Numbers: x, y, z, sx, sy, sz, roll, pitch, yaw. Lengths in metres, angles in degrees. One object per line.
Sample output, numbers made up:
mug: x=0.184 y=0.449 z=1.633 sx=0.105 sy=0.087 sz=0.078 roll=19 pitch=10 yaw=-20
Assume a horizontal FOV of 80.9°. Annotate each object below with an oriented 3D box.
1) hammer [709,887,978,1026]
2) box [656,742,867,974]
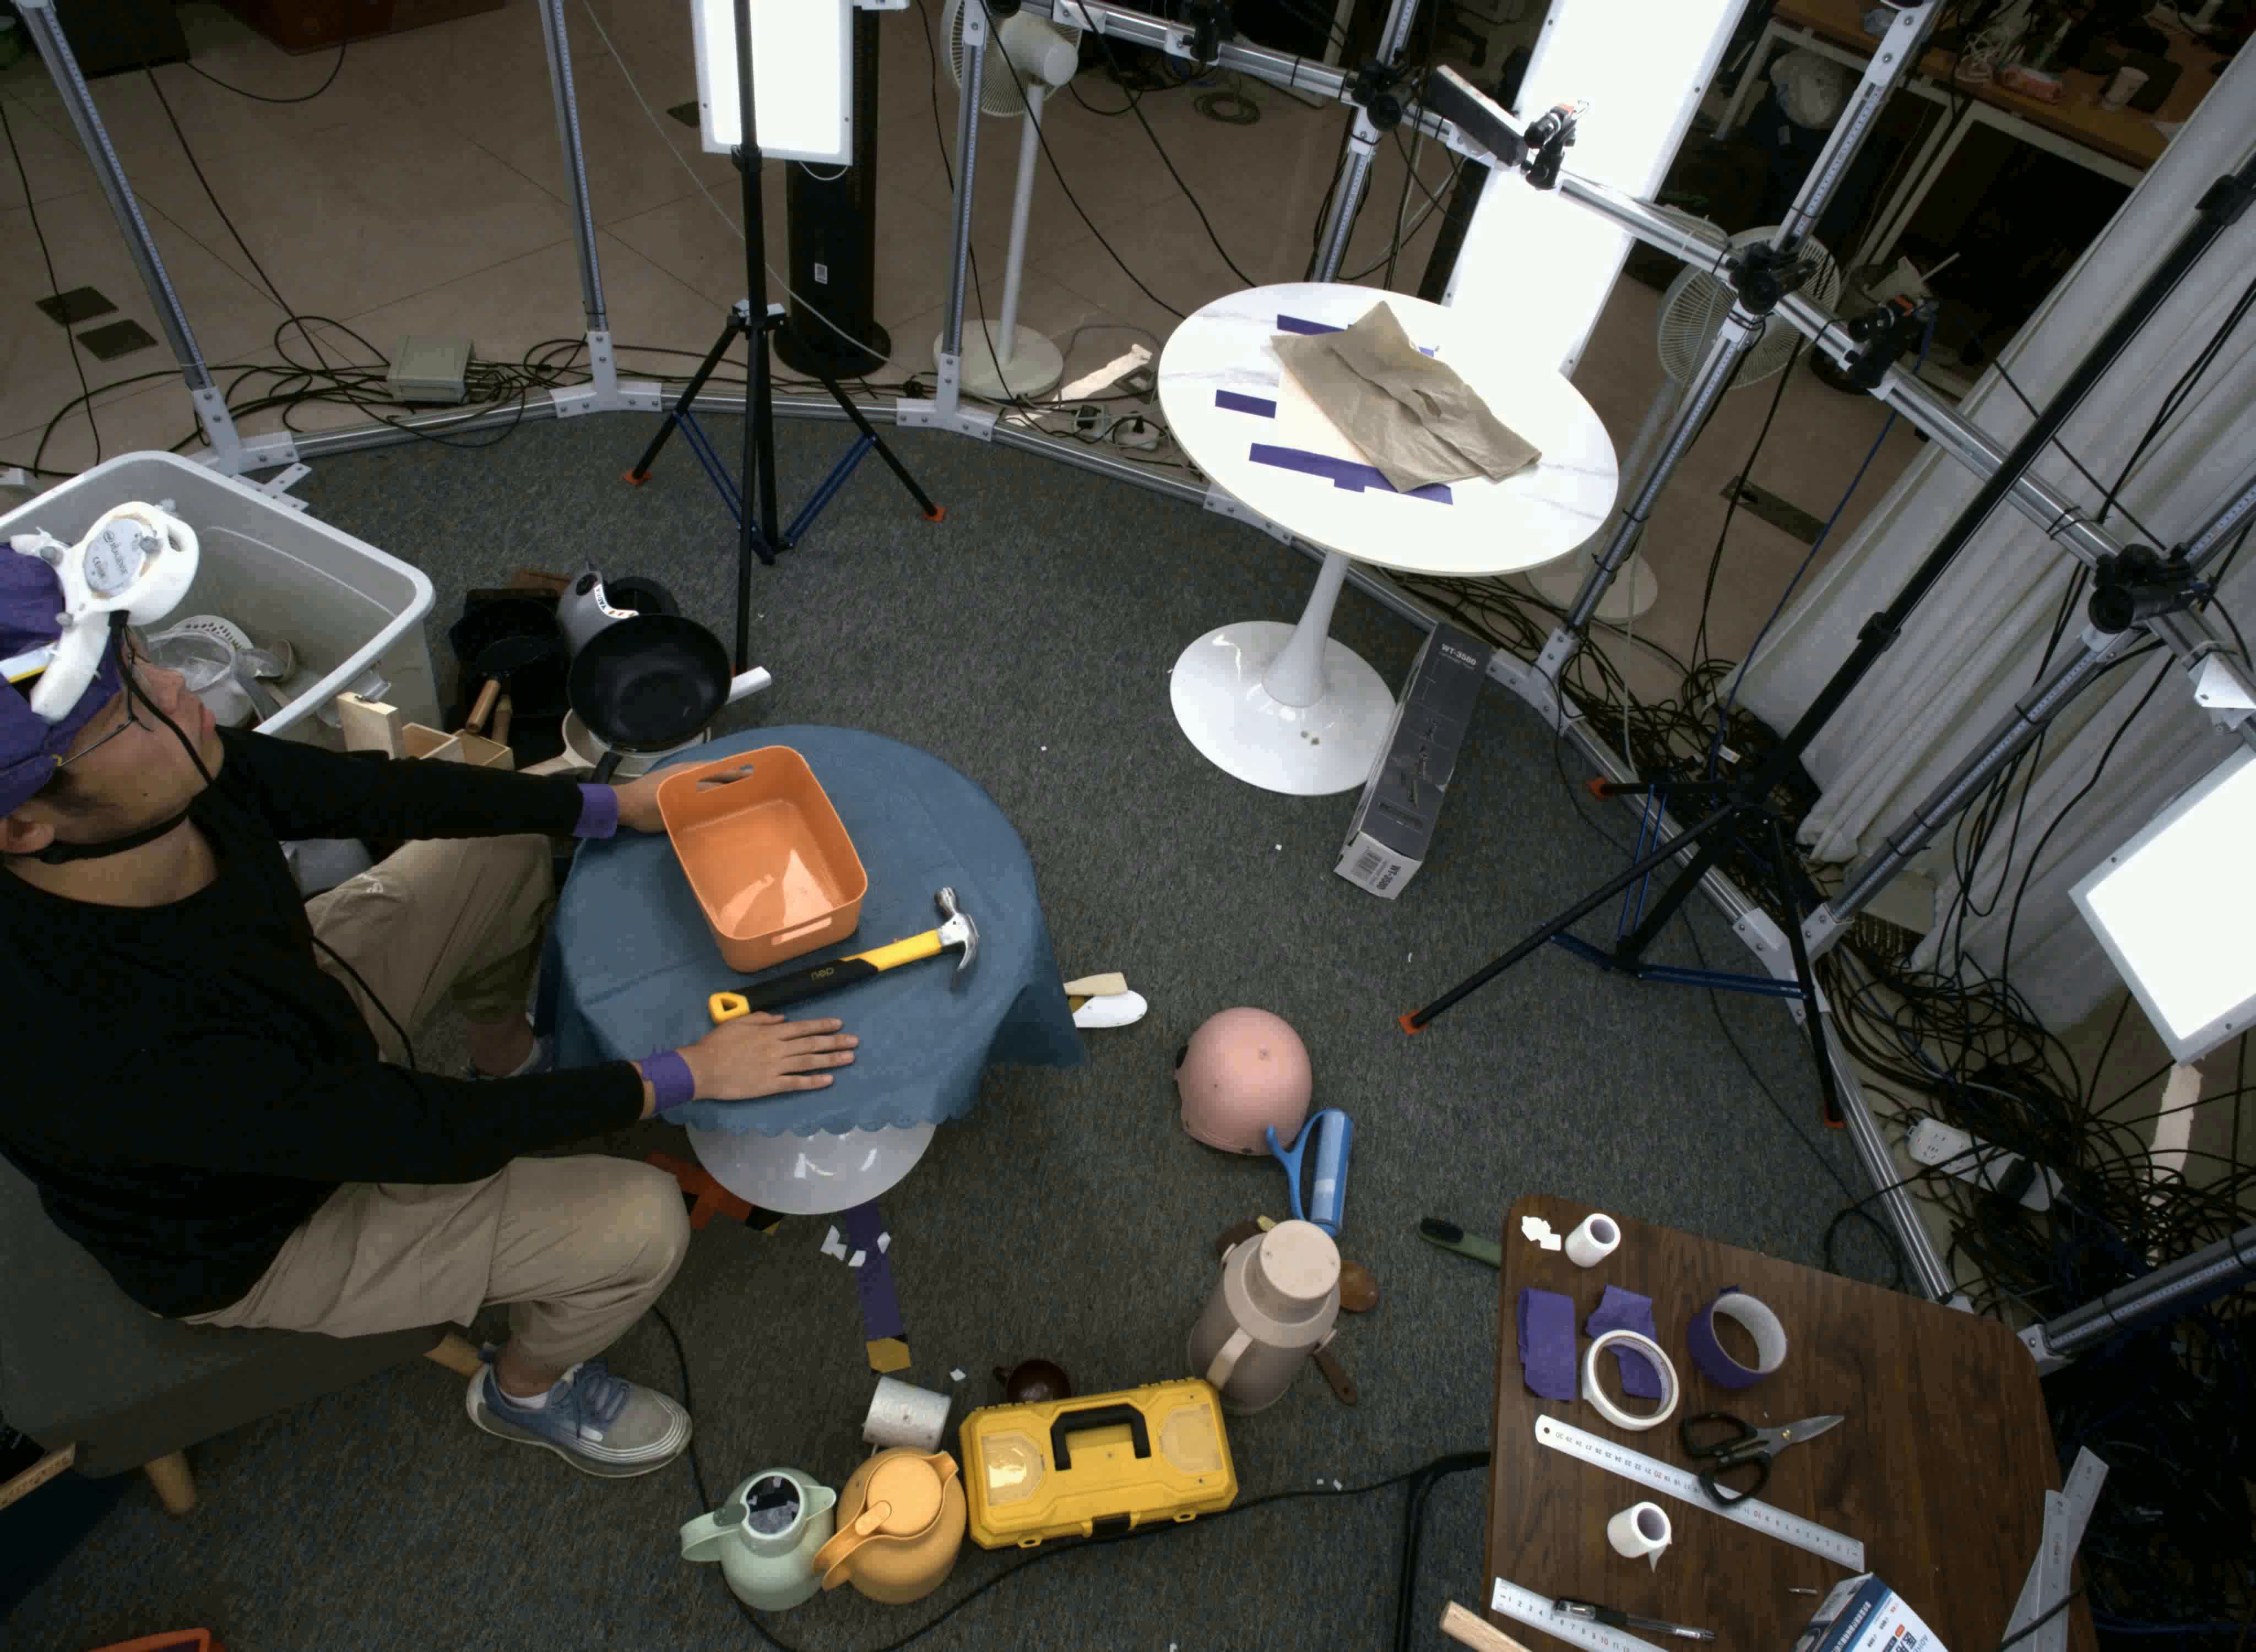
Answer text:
hammer: x=-0.343 y=0.172 z=1.590 sx=0.340 sy=0.033 sz=0.128 roll=-16 pitch=59 yaw=-26
box: x=-0.457 y=0.042 z=1.615 sx=0.200 sy=0.105 sz=0.266 roll=-22 pitch=61 yaw=-26
